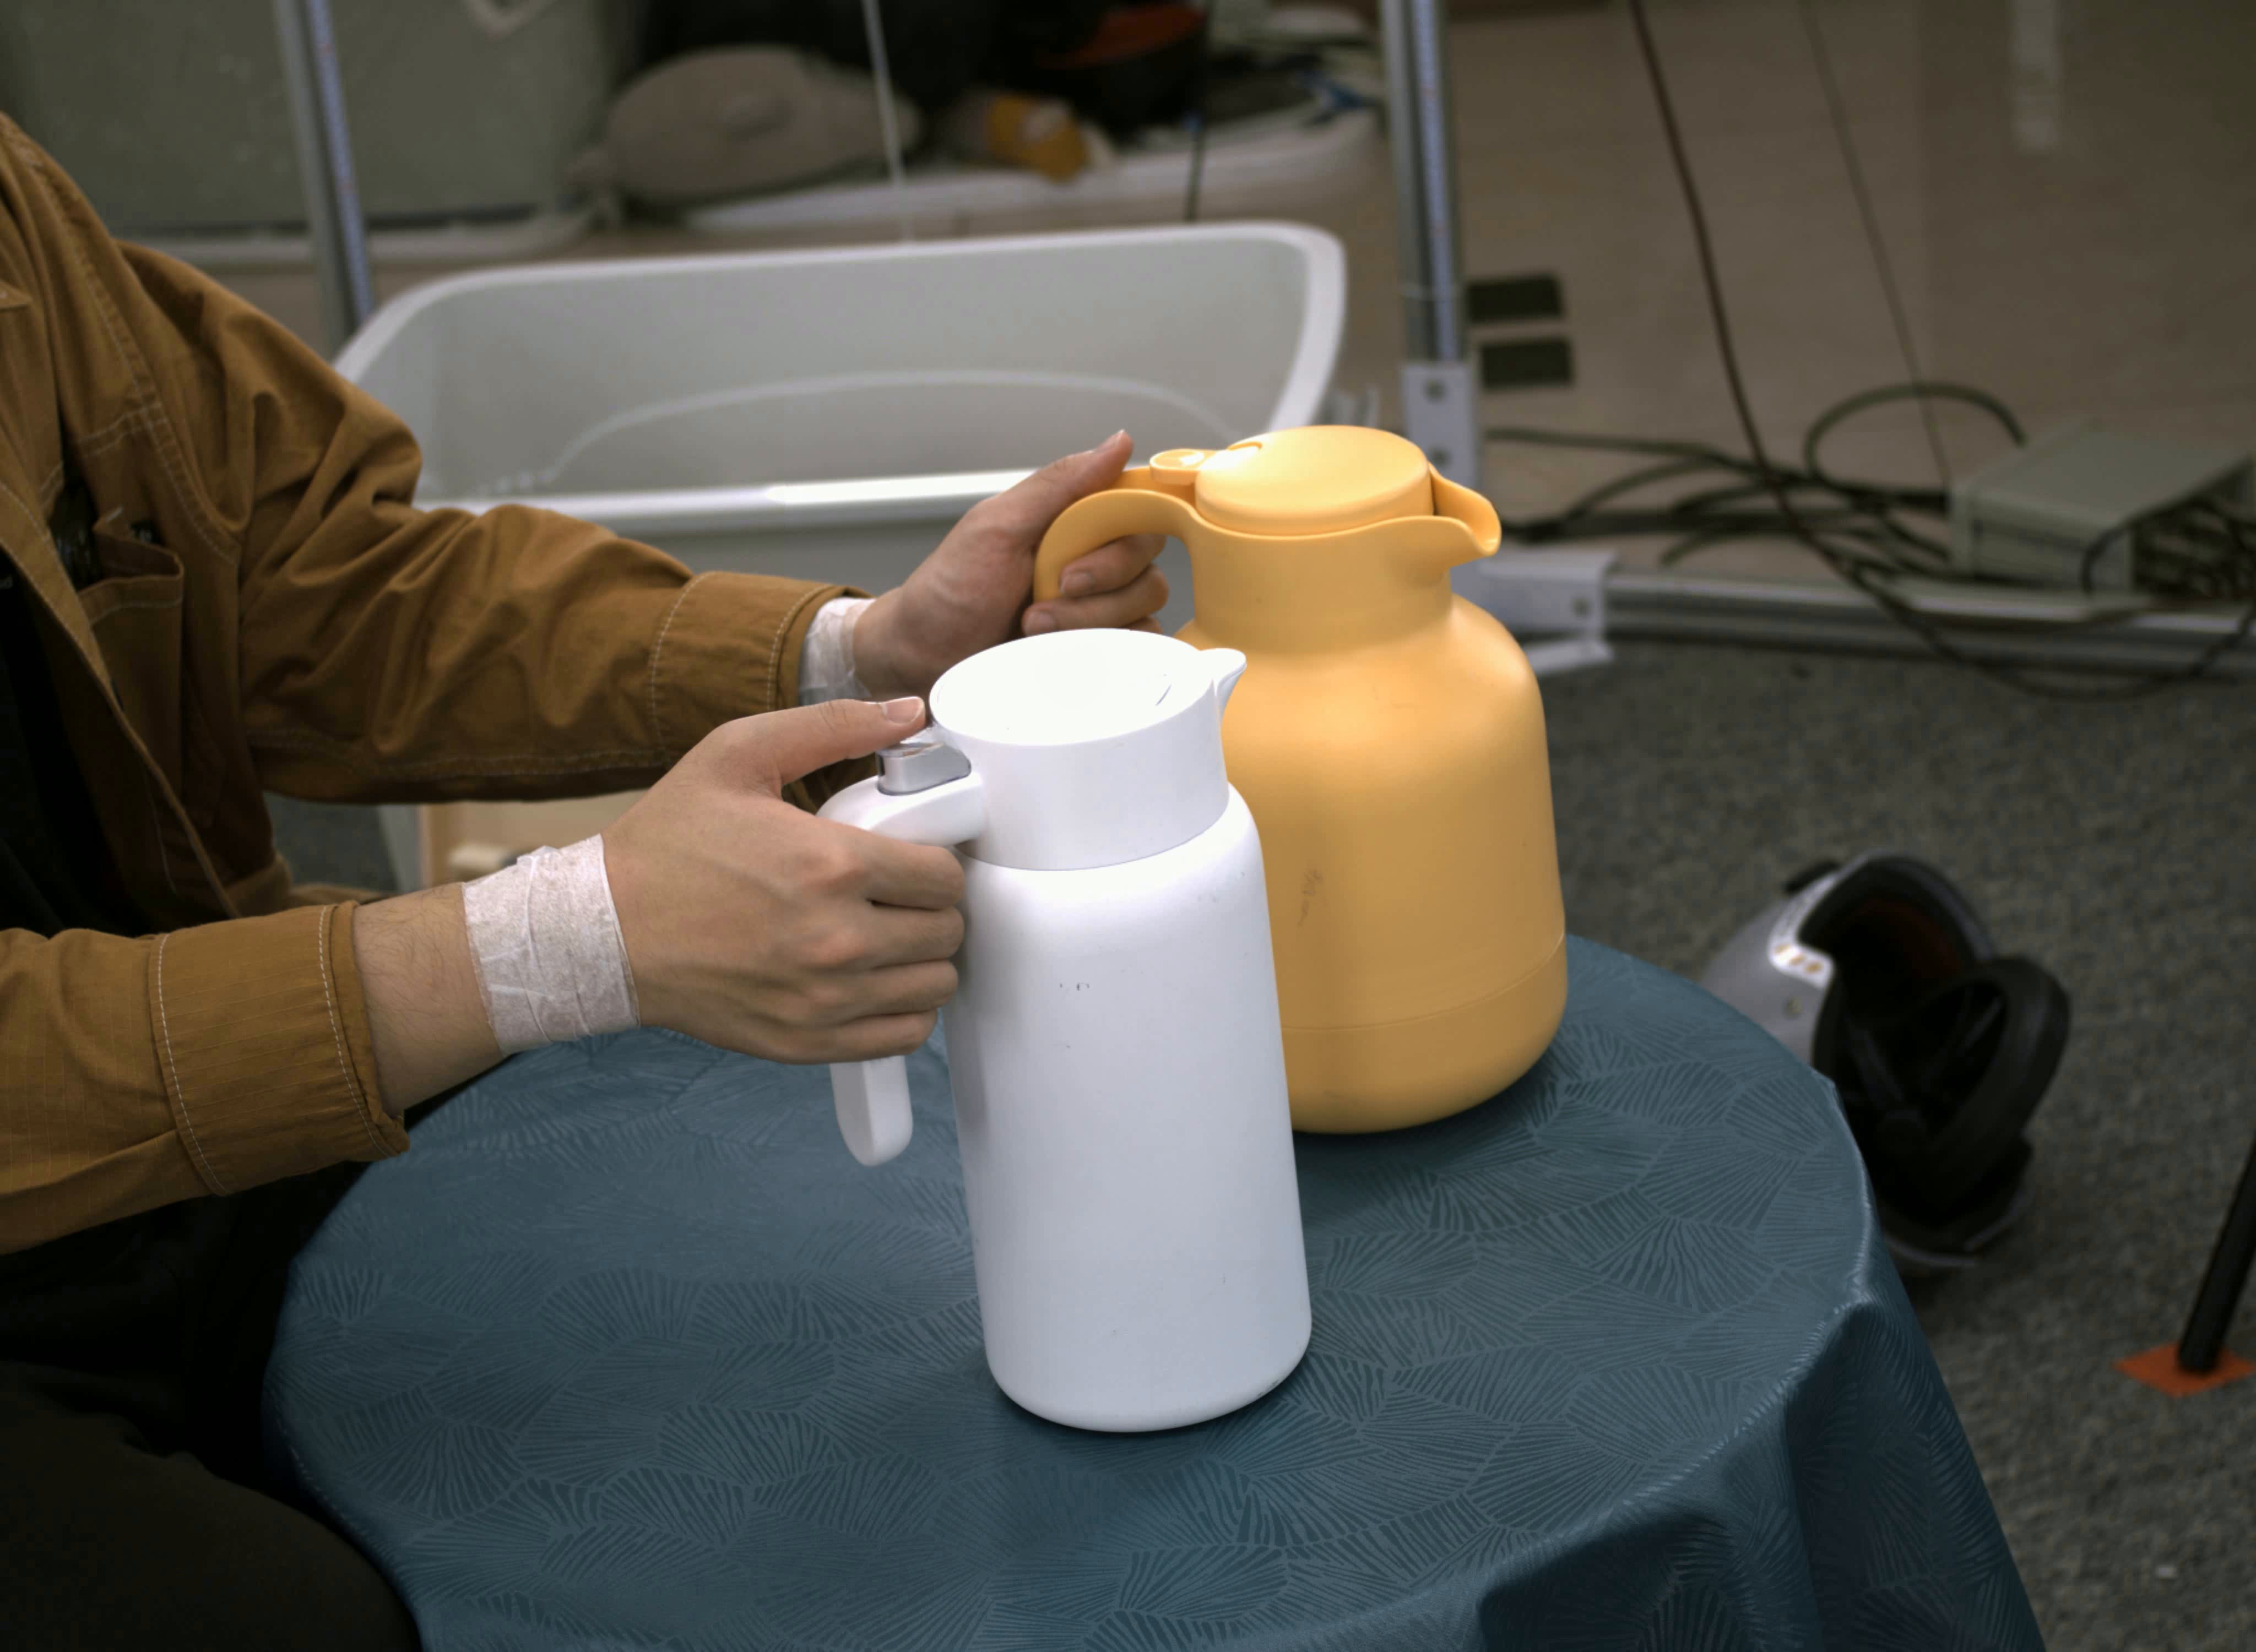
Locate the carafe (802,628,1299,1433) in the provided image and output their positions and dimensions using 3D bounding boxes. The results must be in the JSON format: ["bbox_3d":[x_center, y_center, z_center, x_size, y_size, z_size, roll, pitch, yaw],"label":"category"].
[{"bbox_3d":[-0.022,0.076,1.967,0.172,0.273,0.122,-19,30,-26],"label":"carafe"}]

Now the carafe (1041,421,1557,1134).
[{"bbox_3d":[0.064,-0.026,2.172,0.201,0.264,0.161,11,28,28],"label":"carafe"}]
